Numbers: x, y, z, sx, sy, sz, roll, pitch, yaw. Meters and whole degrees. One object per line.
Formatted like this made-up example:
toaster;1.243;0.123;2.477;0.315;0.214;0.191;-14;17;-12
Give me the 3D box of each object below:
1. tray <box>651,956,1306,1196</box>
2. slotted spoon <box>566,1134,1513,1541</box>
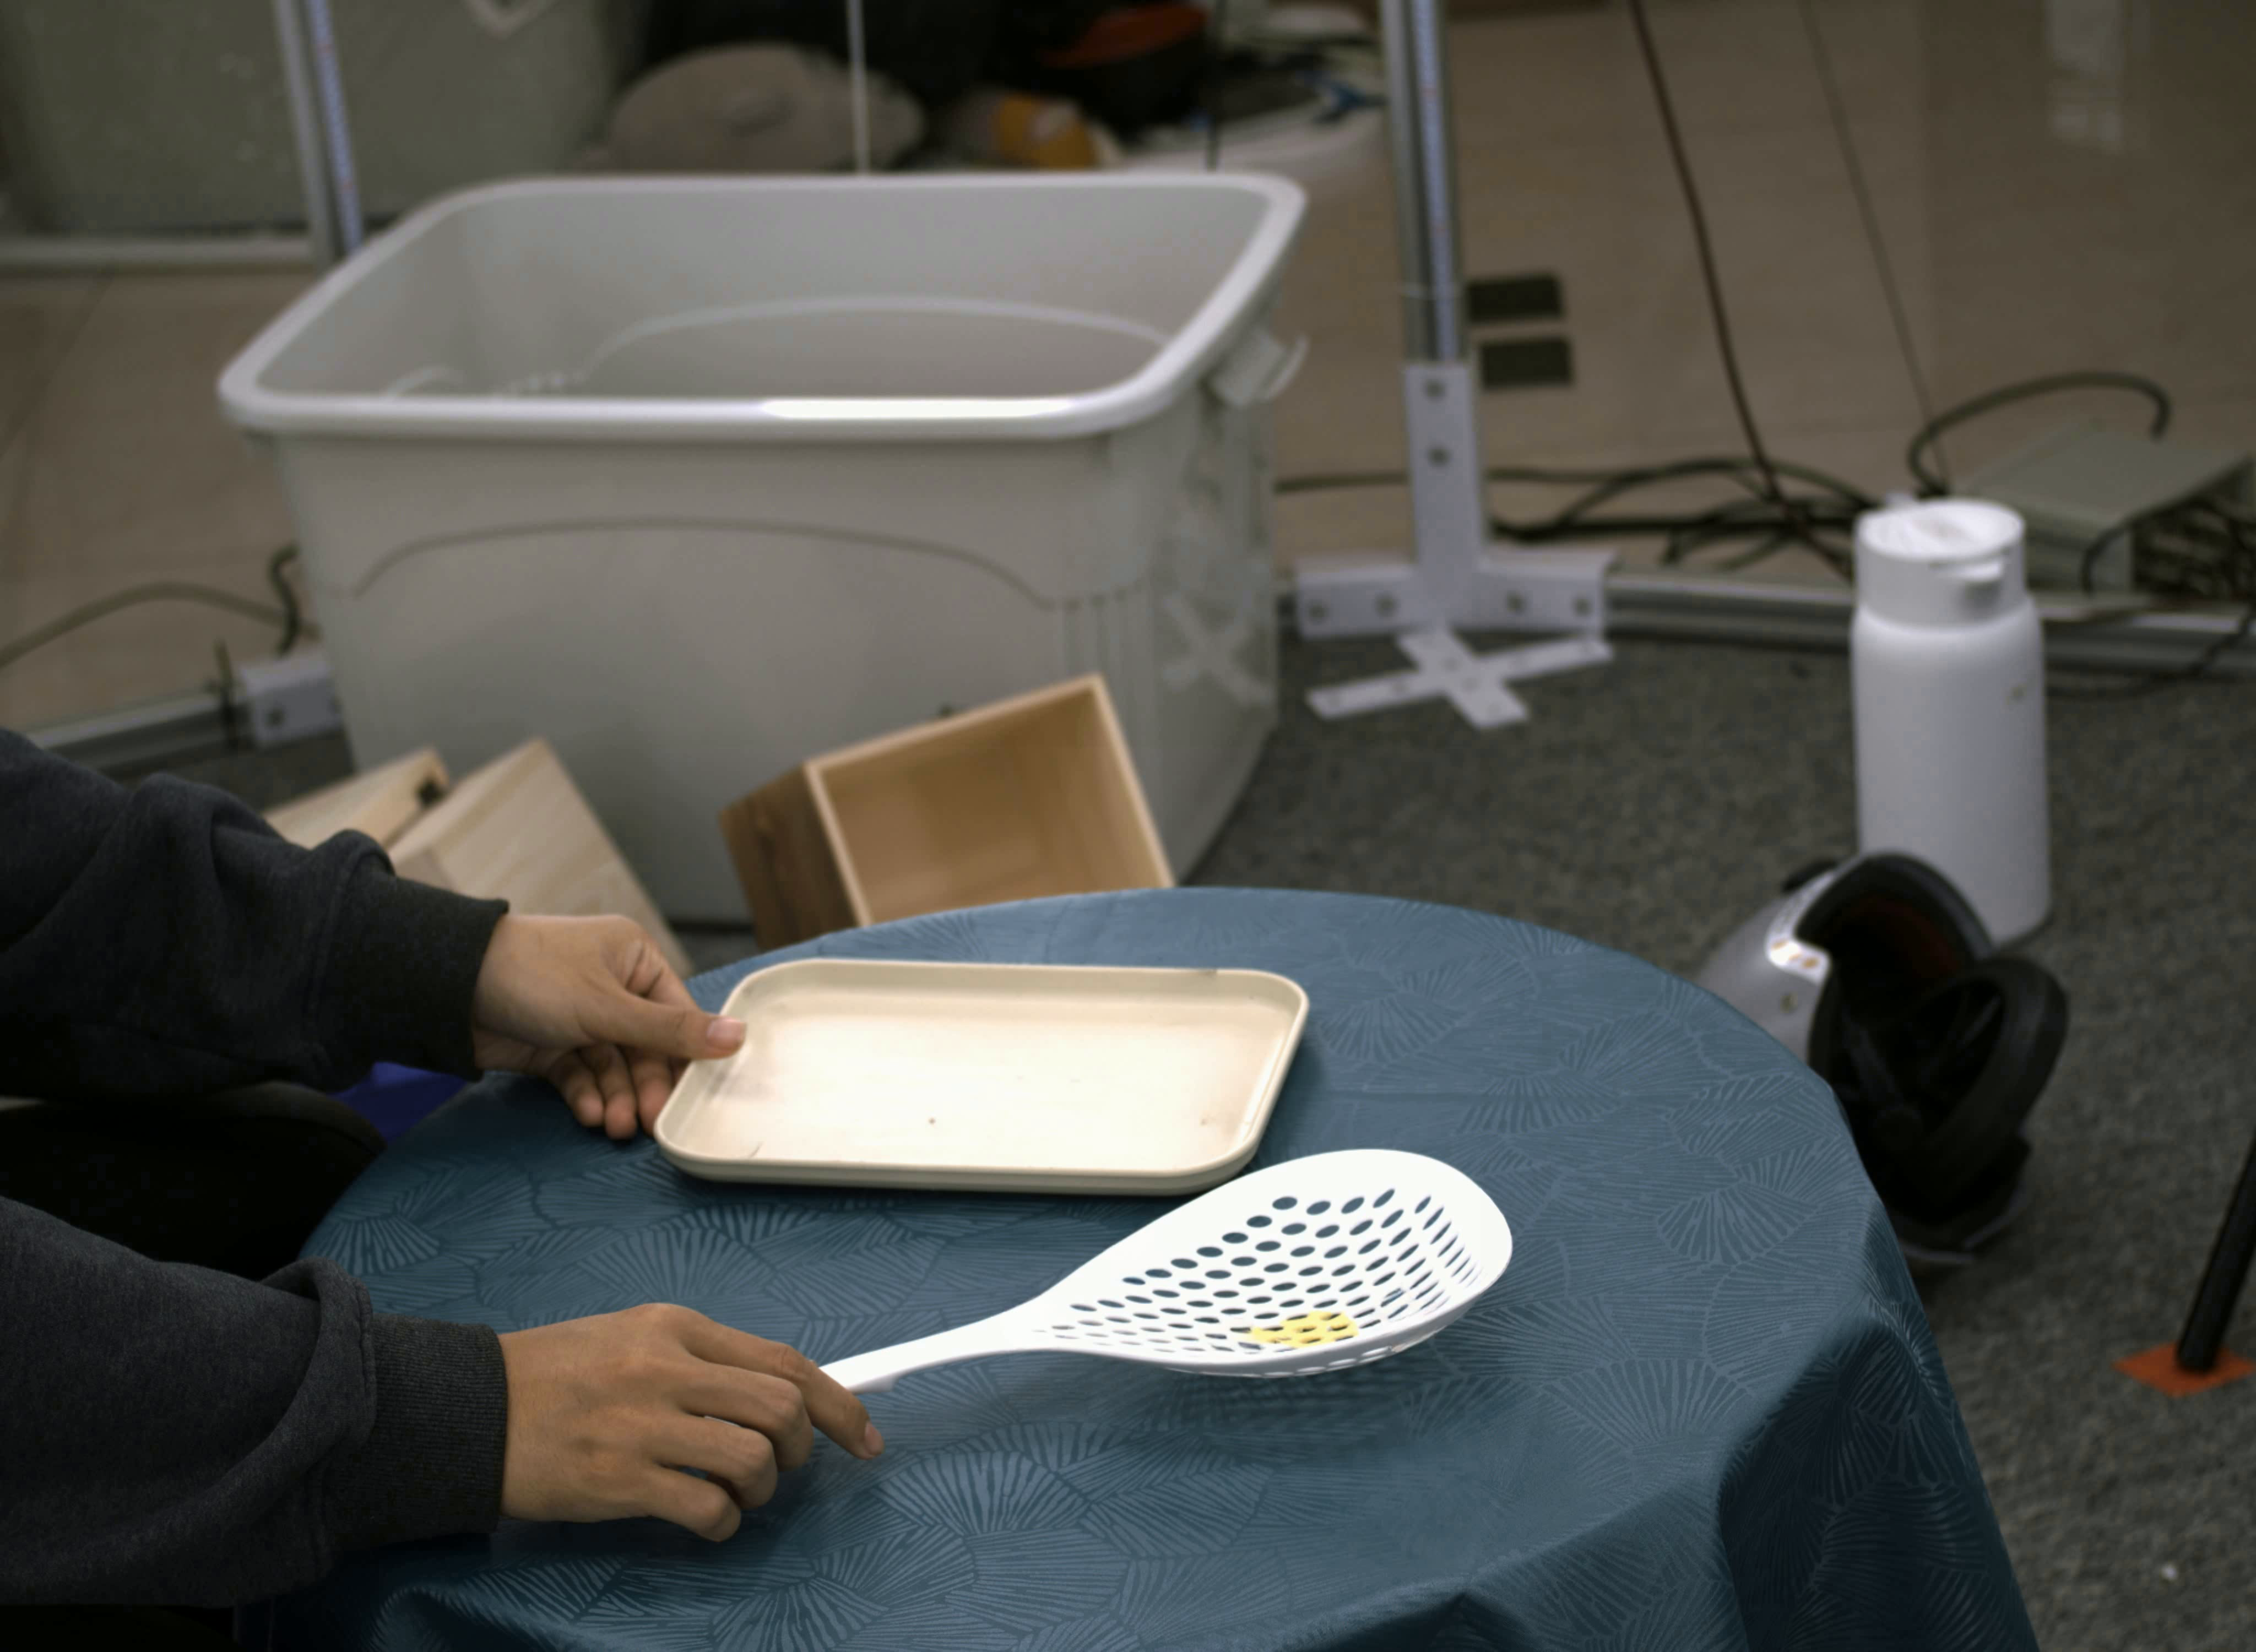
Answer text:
tray;-0.057;0.098;2.220;0.239;0.018;0.169;1;27;13
slotted spoon;-0.033;0.187;2.002;0.347;0.051;0.135;-12;27;-12
